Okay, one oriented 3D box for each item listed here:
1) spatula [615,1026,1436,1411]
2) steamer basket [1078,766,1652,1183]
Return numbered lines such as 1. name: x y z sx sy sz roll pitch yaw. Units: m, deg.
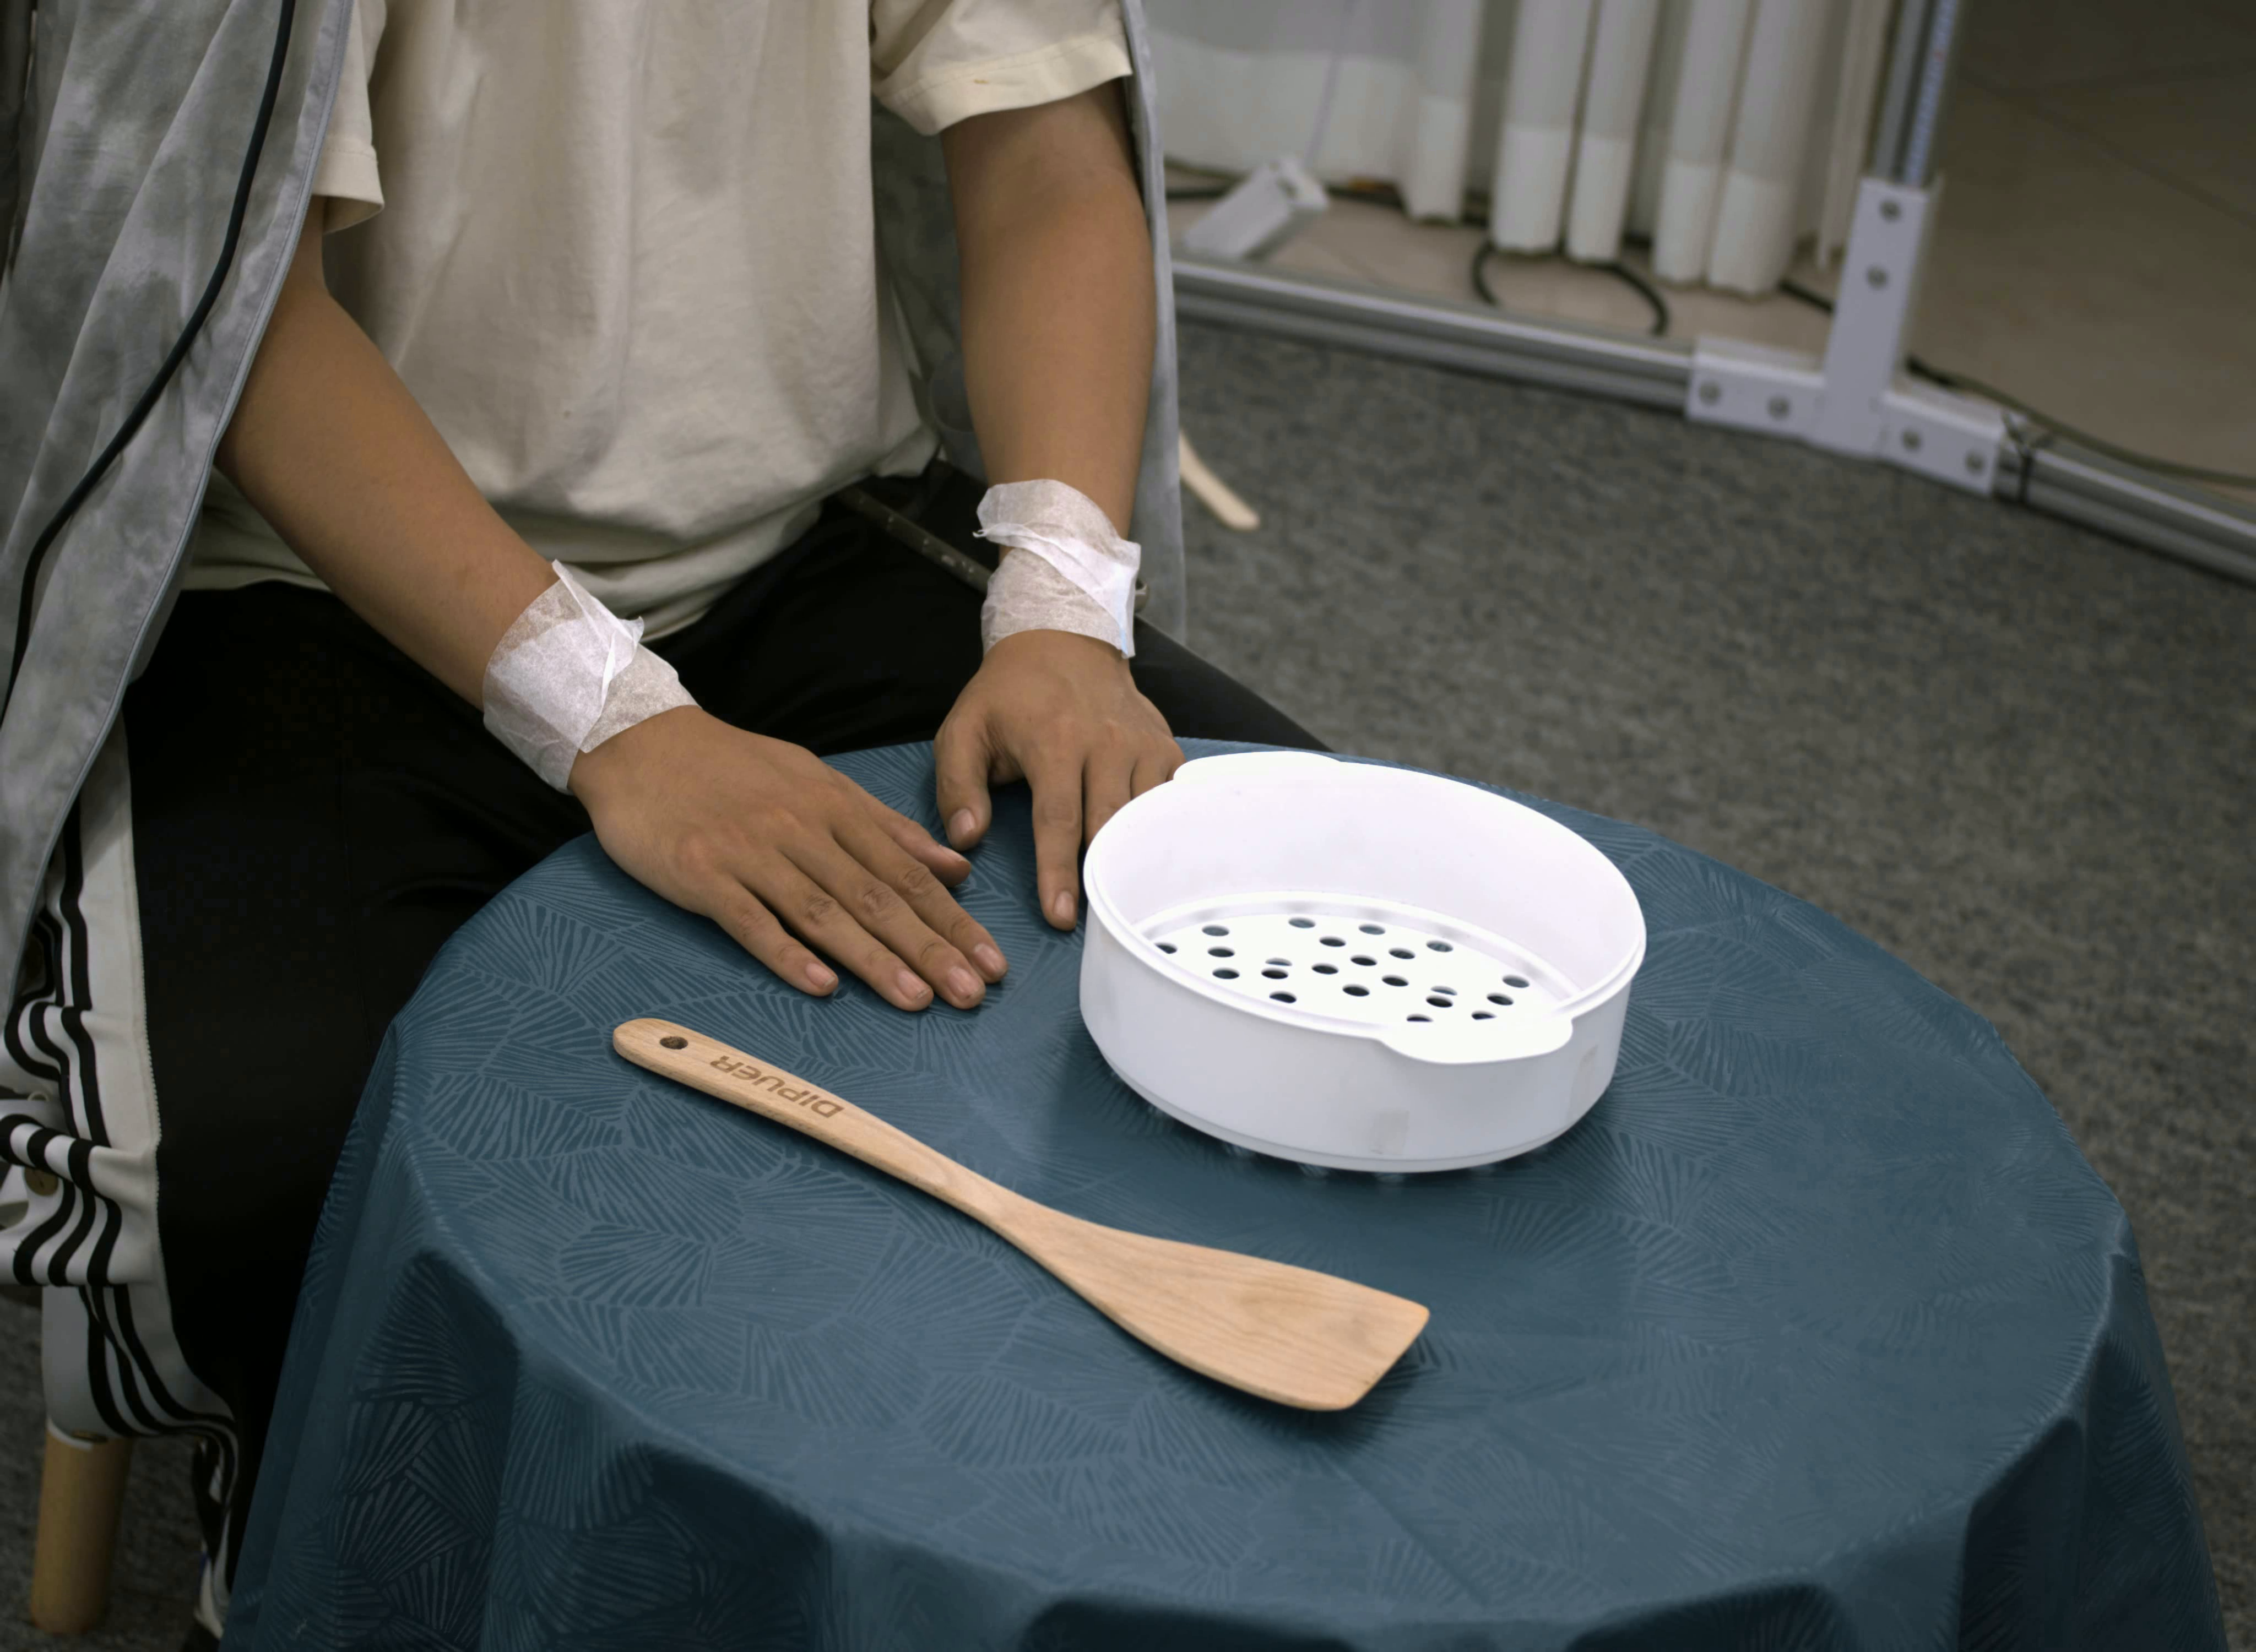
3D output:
1. spatula: -0.042 0.124 1.776 0.329 0.016 0.079 22 30 29
2. steamer basket: 0.082 0.054 1.888 0.200 0.069 0.232 -3 28 -21
